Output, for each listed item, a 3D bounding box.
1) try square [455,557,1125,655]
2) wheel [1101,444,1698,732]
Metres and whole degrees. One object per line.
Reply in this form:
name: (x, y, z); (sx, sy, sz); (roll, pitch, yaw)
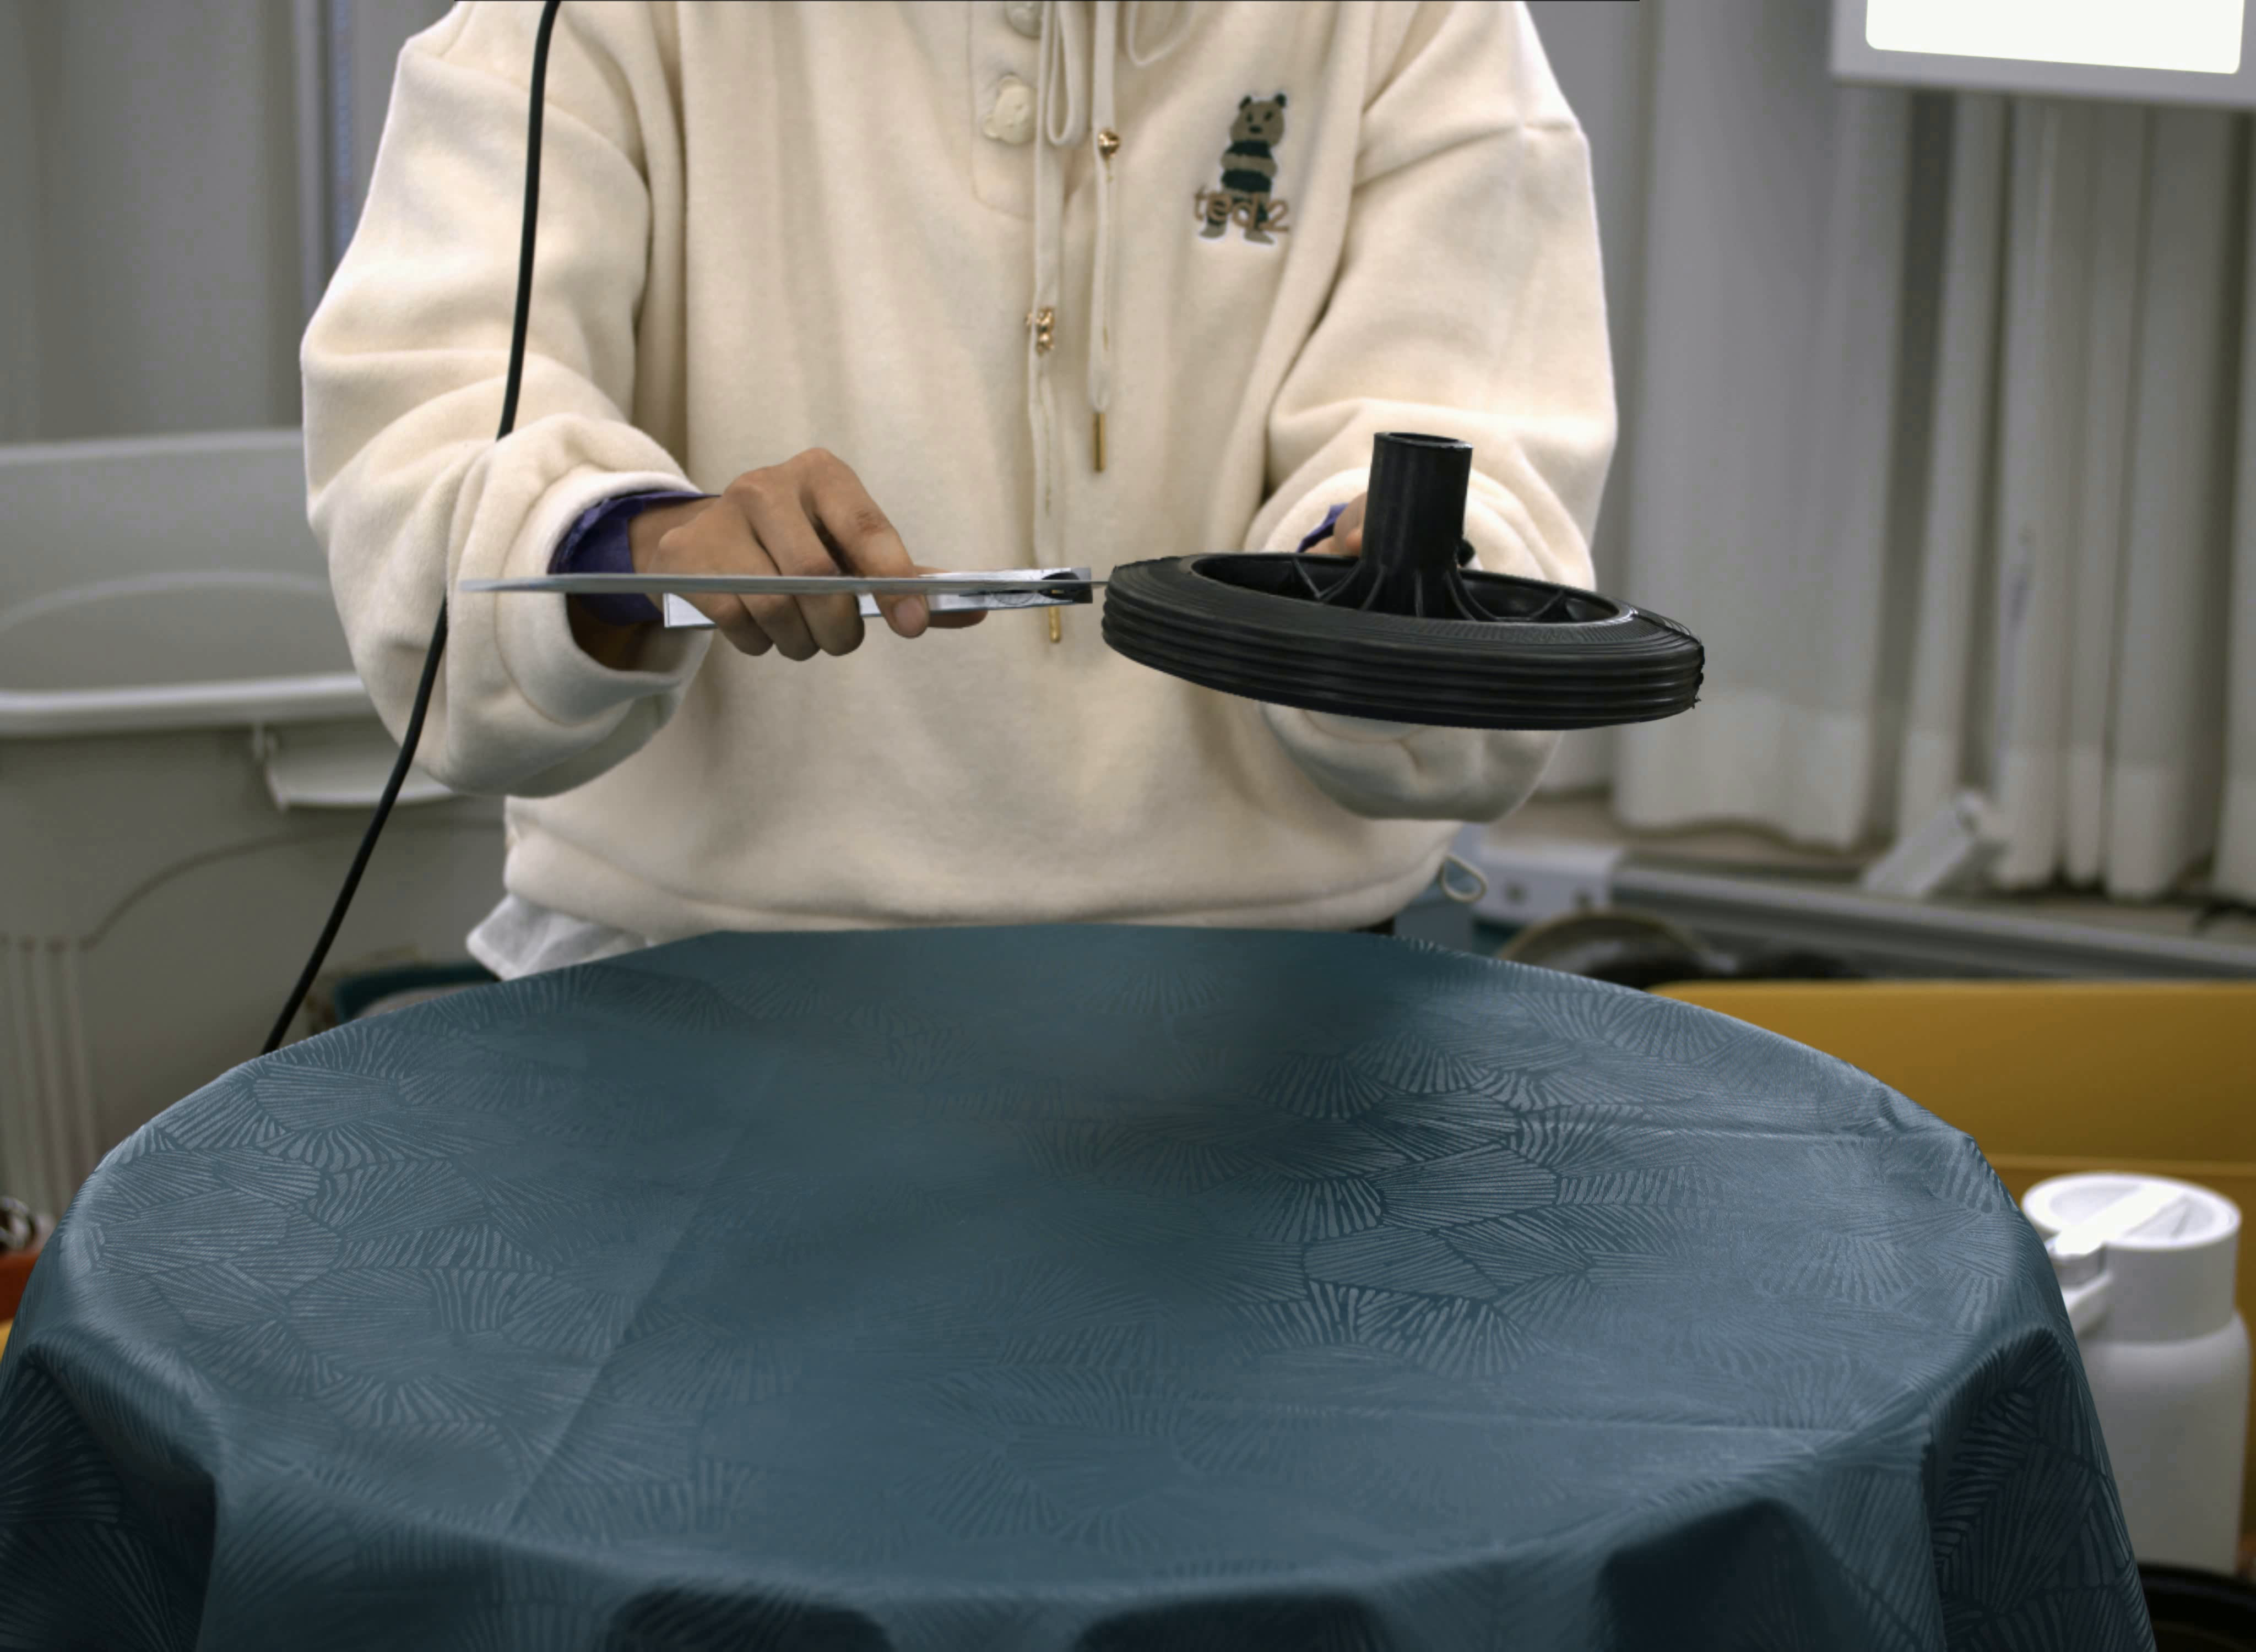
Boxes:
try square: (-0.138, -0.067, 1.564); (0.151, 0.016, 0.315); (-7, -2, 28)
wheel: (0.088, -0.078, 1.638); (0.191, 0.079, 0.185); (-2, 13, -43)
